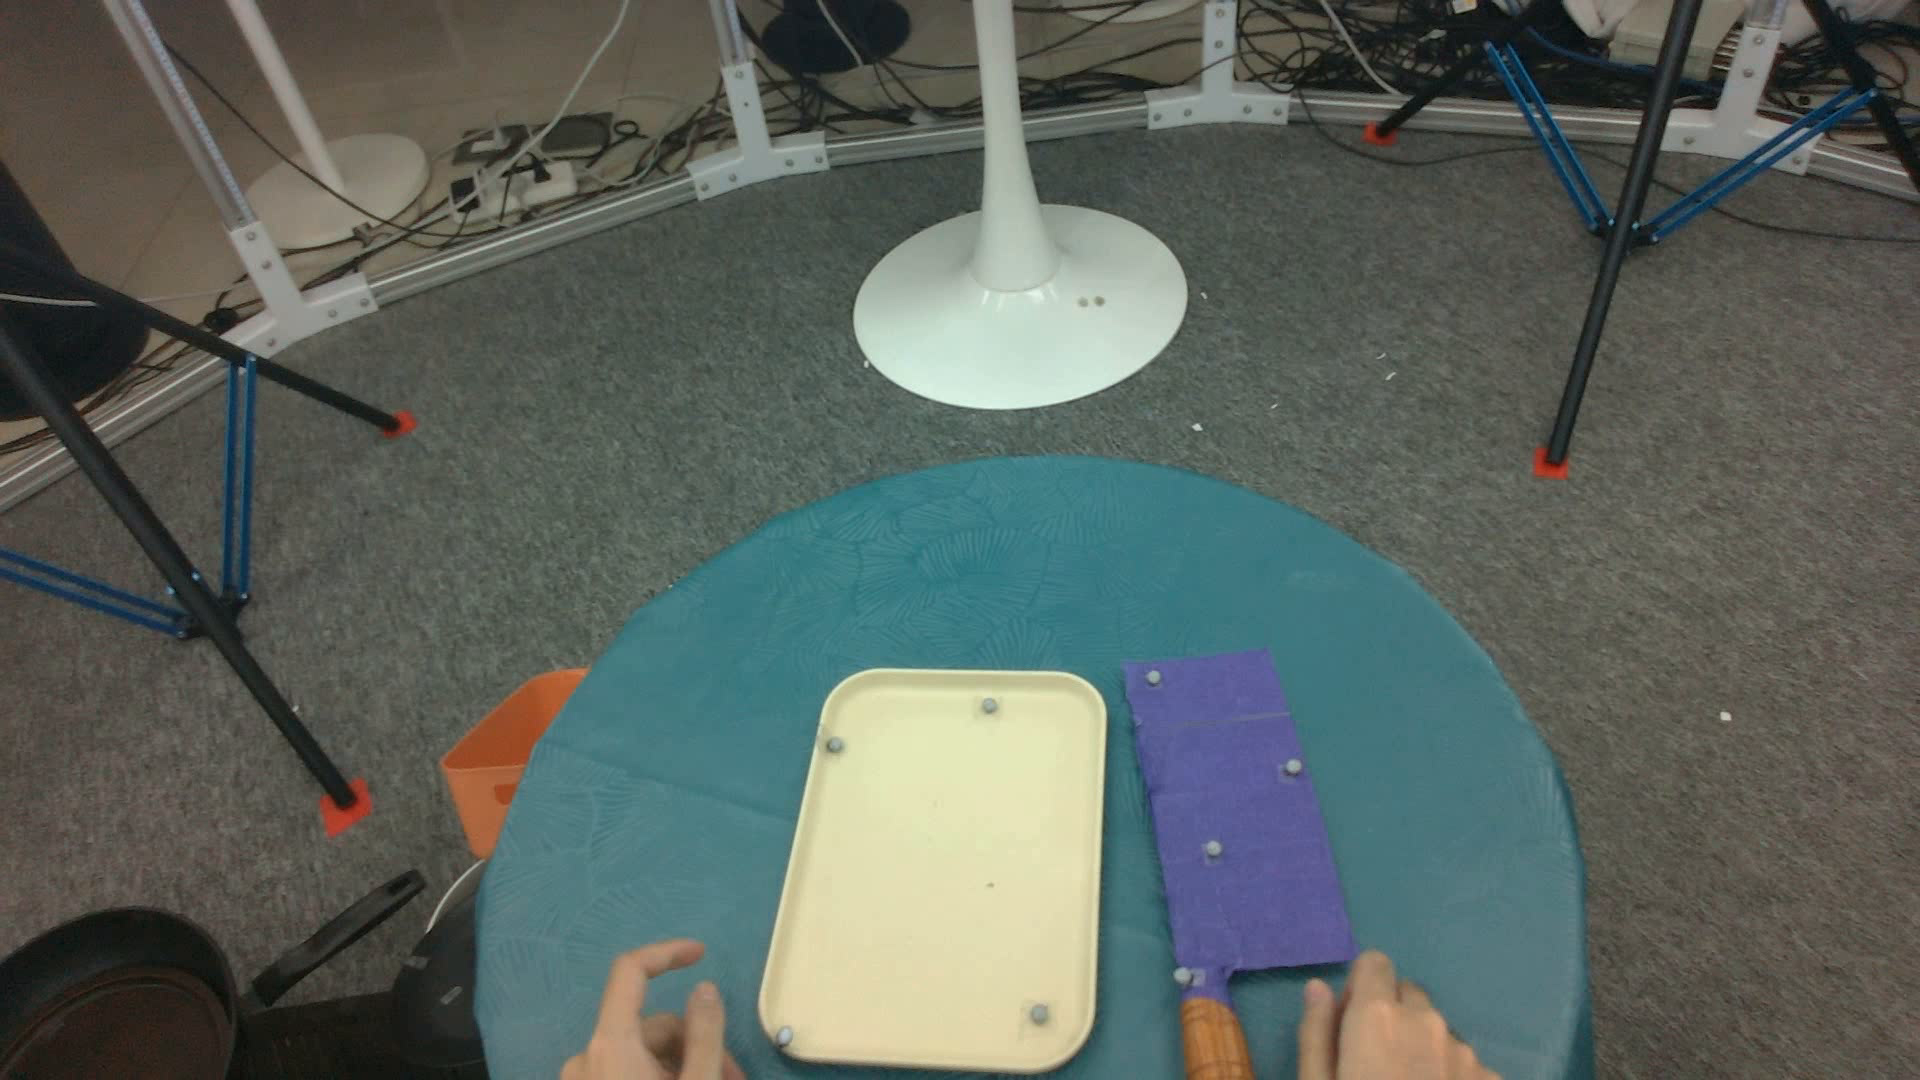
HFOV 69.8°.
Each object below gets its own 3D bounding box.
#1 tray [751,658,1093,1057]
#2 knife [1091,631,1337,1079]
[{"bbox_3d":[-0.014,0.164,0.753,0.171,0.017,0.241,1,47,7],"label":"tray"},{"bbox_3d":[0.142,0.167,0.723,0.104,0.032,0.316,-7,46,1],"label":"knife"}]
